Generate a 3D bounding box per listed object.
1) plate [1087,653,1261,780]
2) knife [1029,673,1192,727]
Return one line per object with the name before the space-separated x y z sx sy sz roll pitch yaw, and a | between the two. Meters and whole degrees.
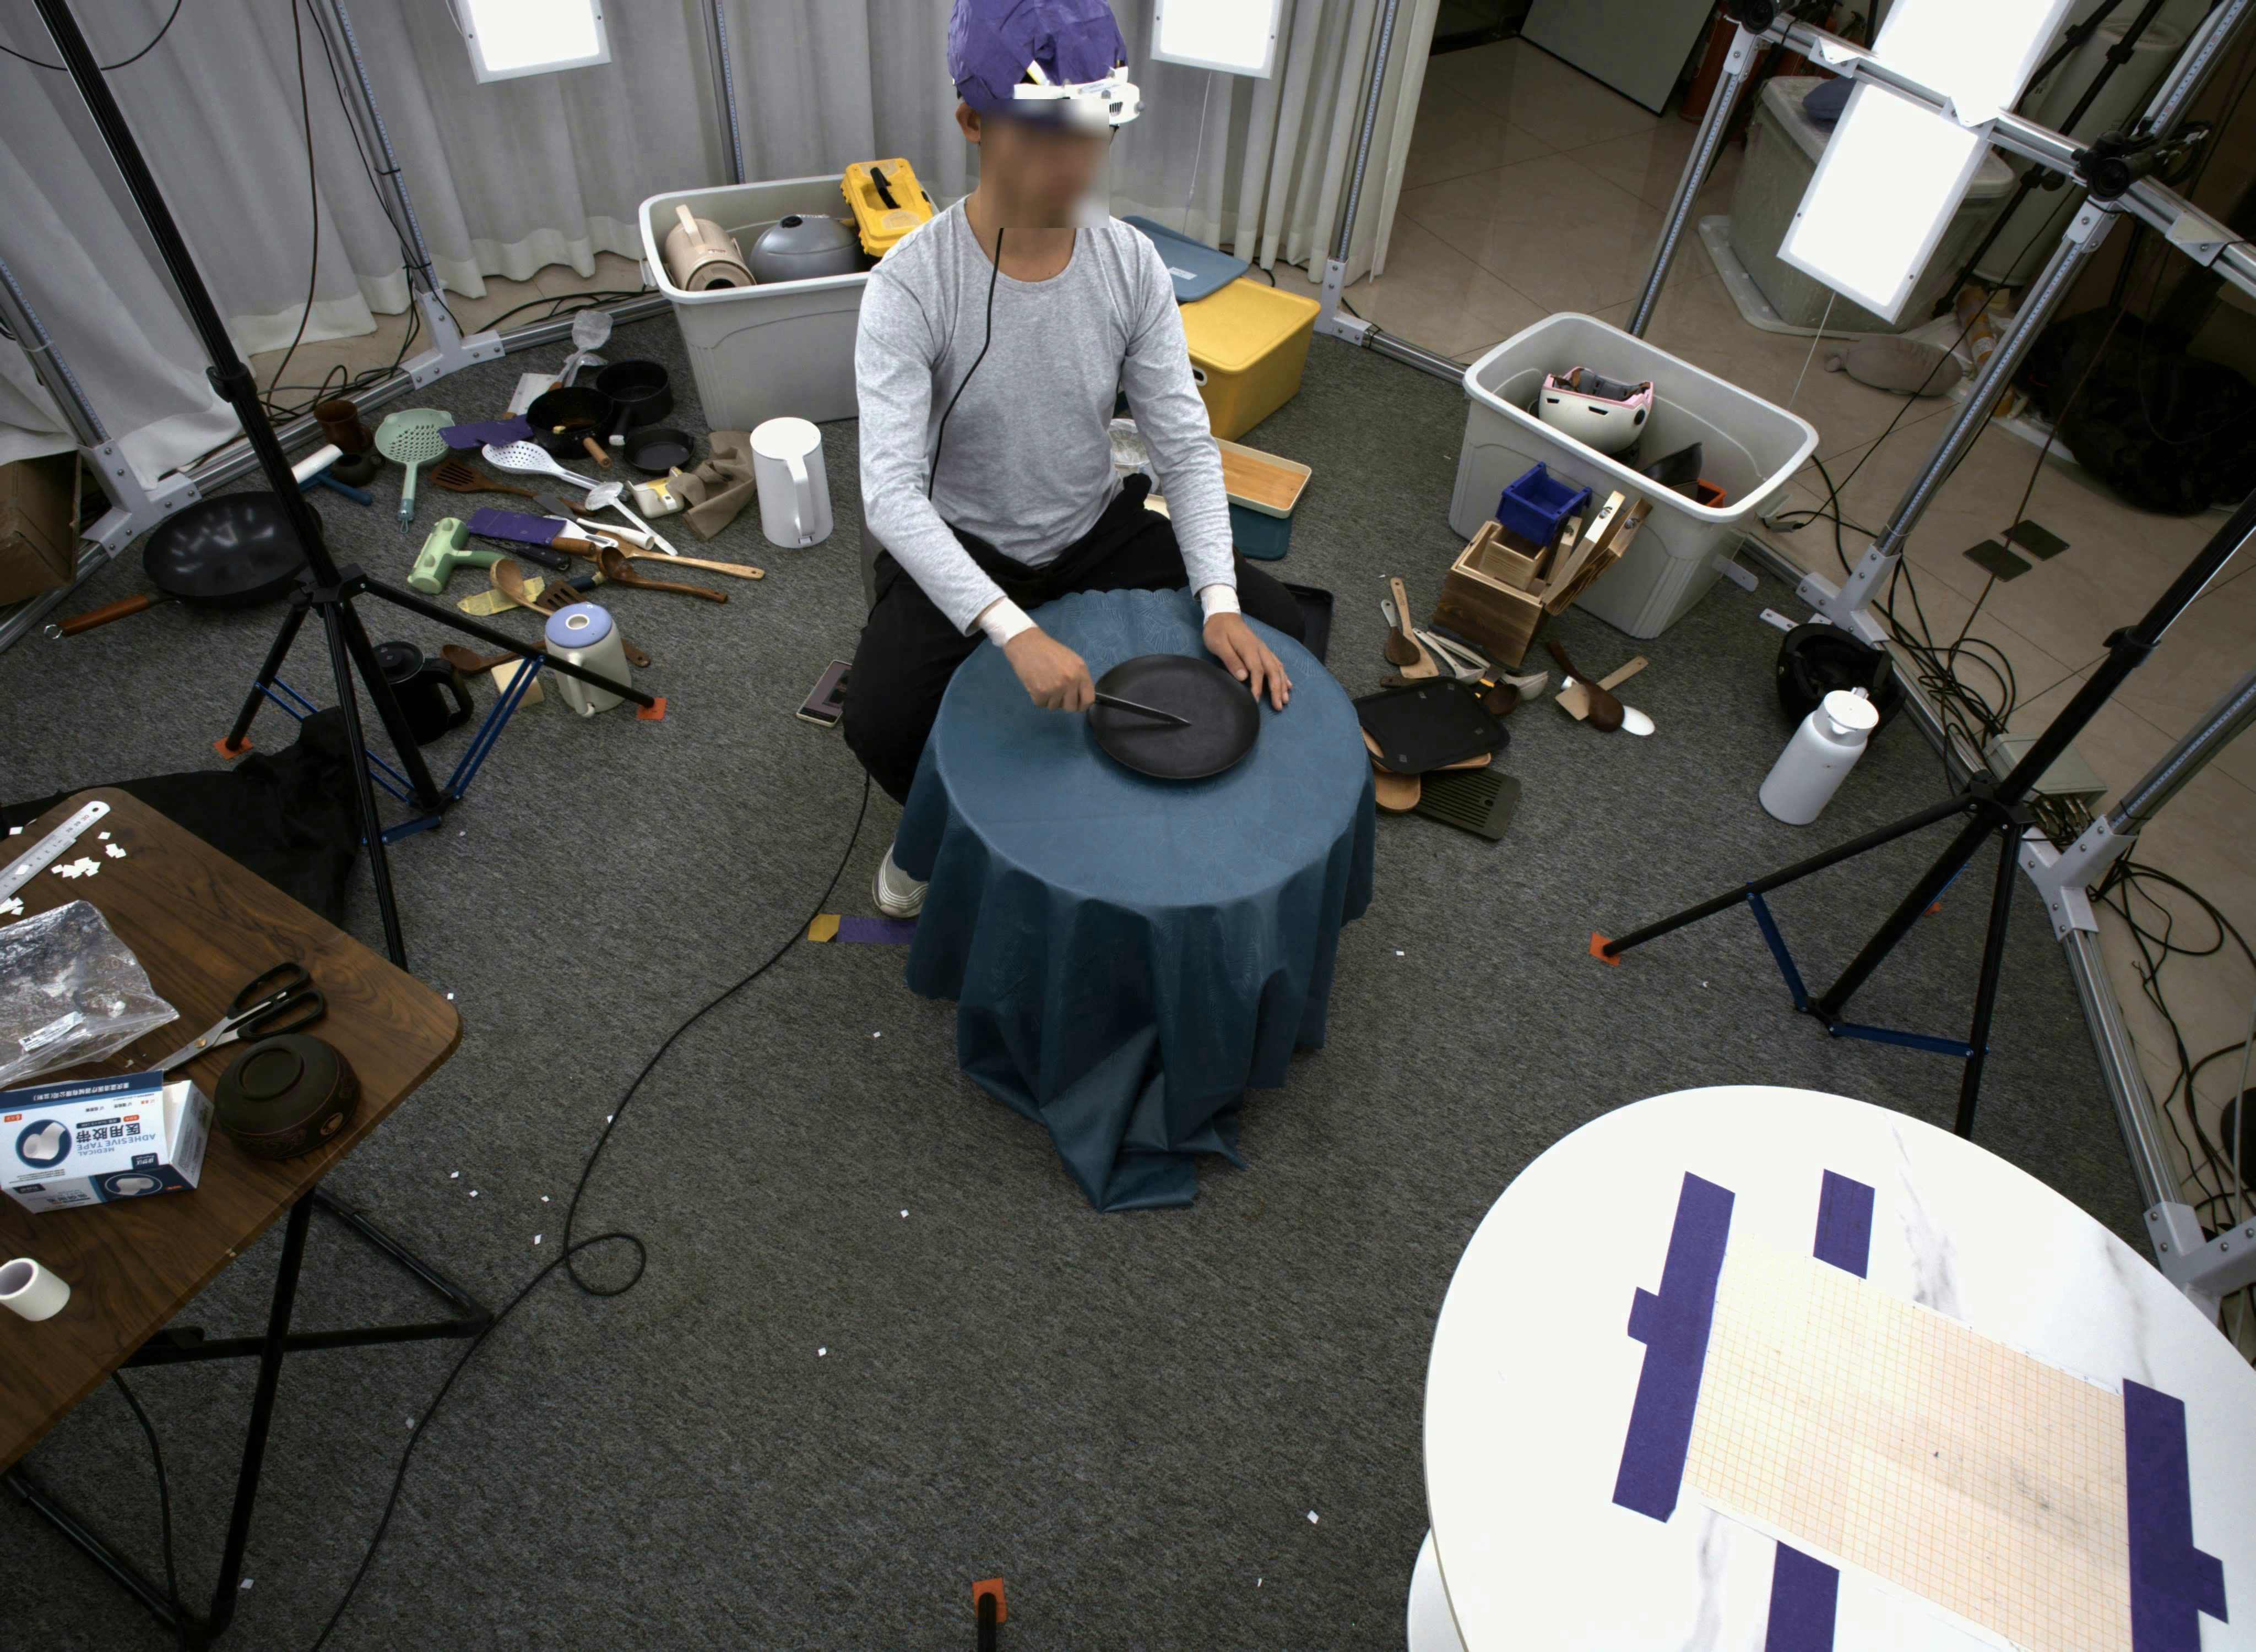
plate | 0.063 -0.150 1.787 0.244 0.023 0.250 2 49 -2
knife | -0.020 -0.171 1.754 0.237 0.024 0.017 15 56 -15
